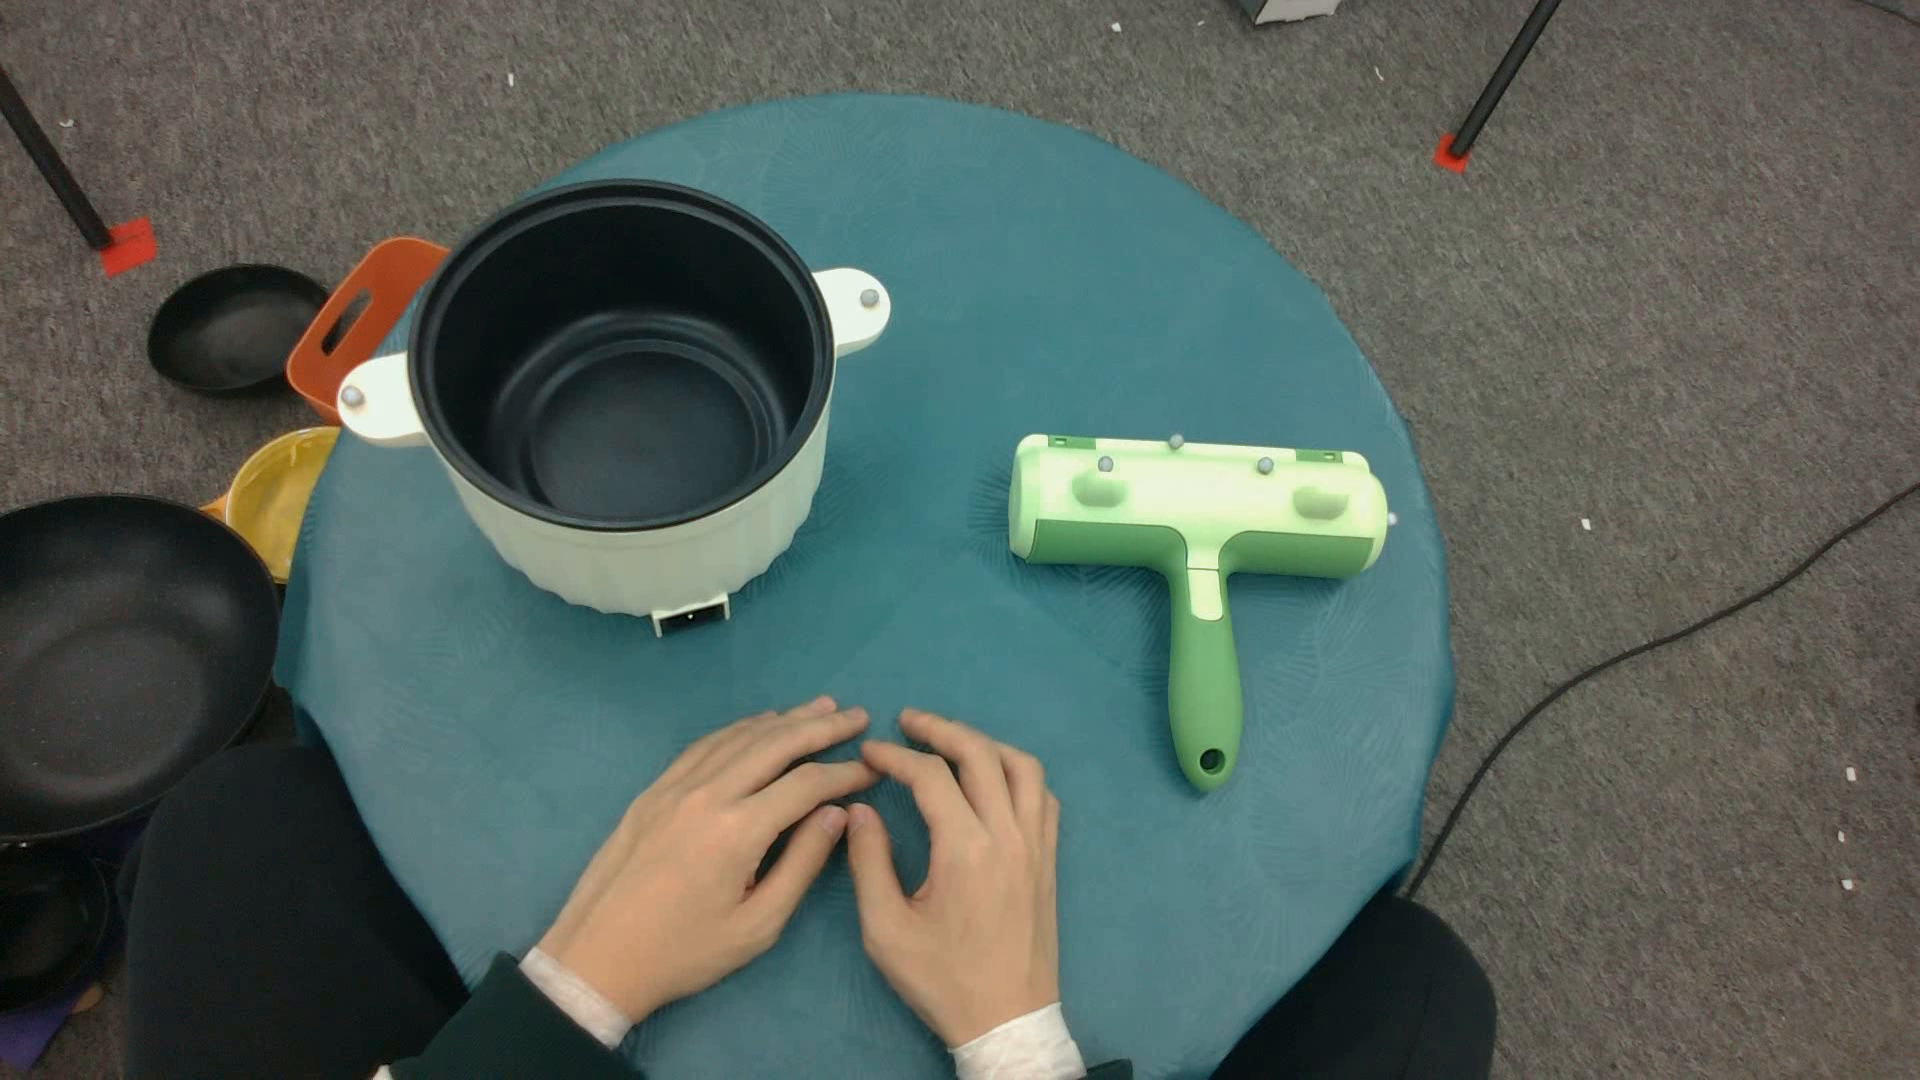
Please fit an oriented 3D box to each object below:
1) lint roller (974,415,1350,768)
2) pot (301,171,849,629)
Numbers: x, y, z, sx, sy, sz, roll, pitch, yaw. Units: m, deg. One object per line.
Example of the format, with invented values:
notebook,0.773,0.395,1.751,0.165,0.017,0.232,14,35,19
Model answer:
lint roller,0.110,0.017,0.699,0.199,0.082,0.184,2,59,-8
pot,-0.174,-0.066,0.661,0.241,0.142,0.191,-16,71,-17
